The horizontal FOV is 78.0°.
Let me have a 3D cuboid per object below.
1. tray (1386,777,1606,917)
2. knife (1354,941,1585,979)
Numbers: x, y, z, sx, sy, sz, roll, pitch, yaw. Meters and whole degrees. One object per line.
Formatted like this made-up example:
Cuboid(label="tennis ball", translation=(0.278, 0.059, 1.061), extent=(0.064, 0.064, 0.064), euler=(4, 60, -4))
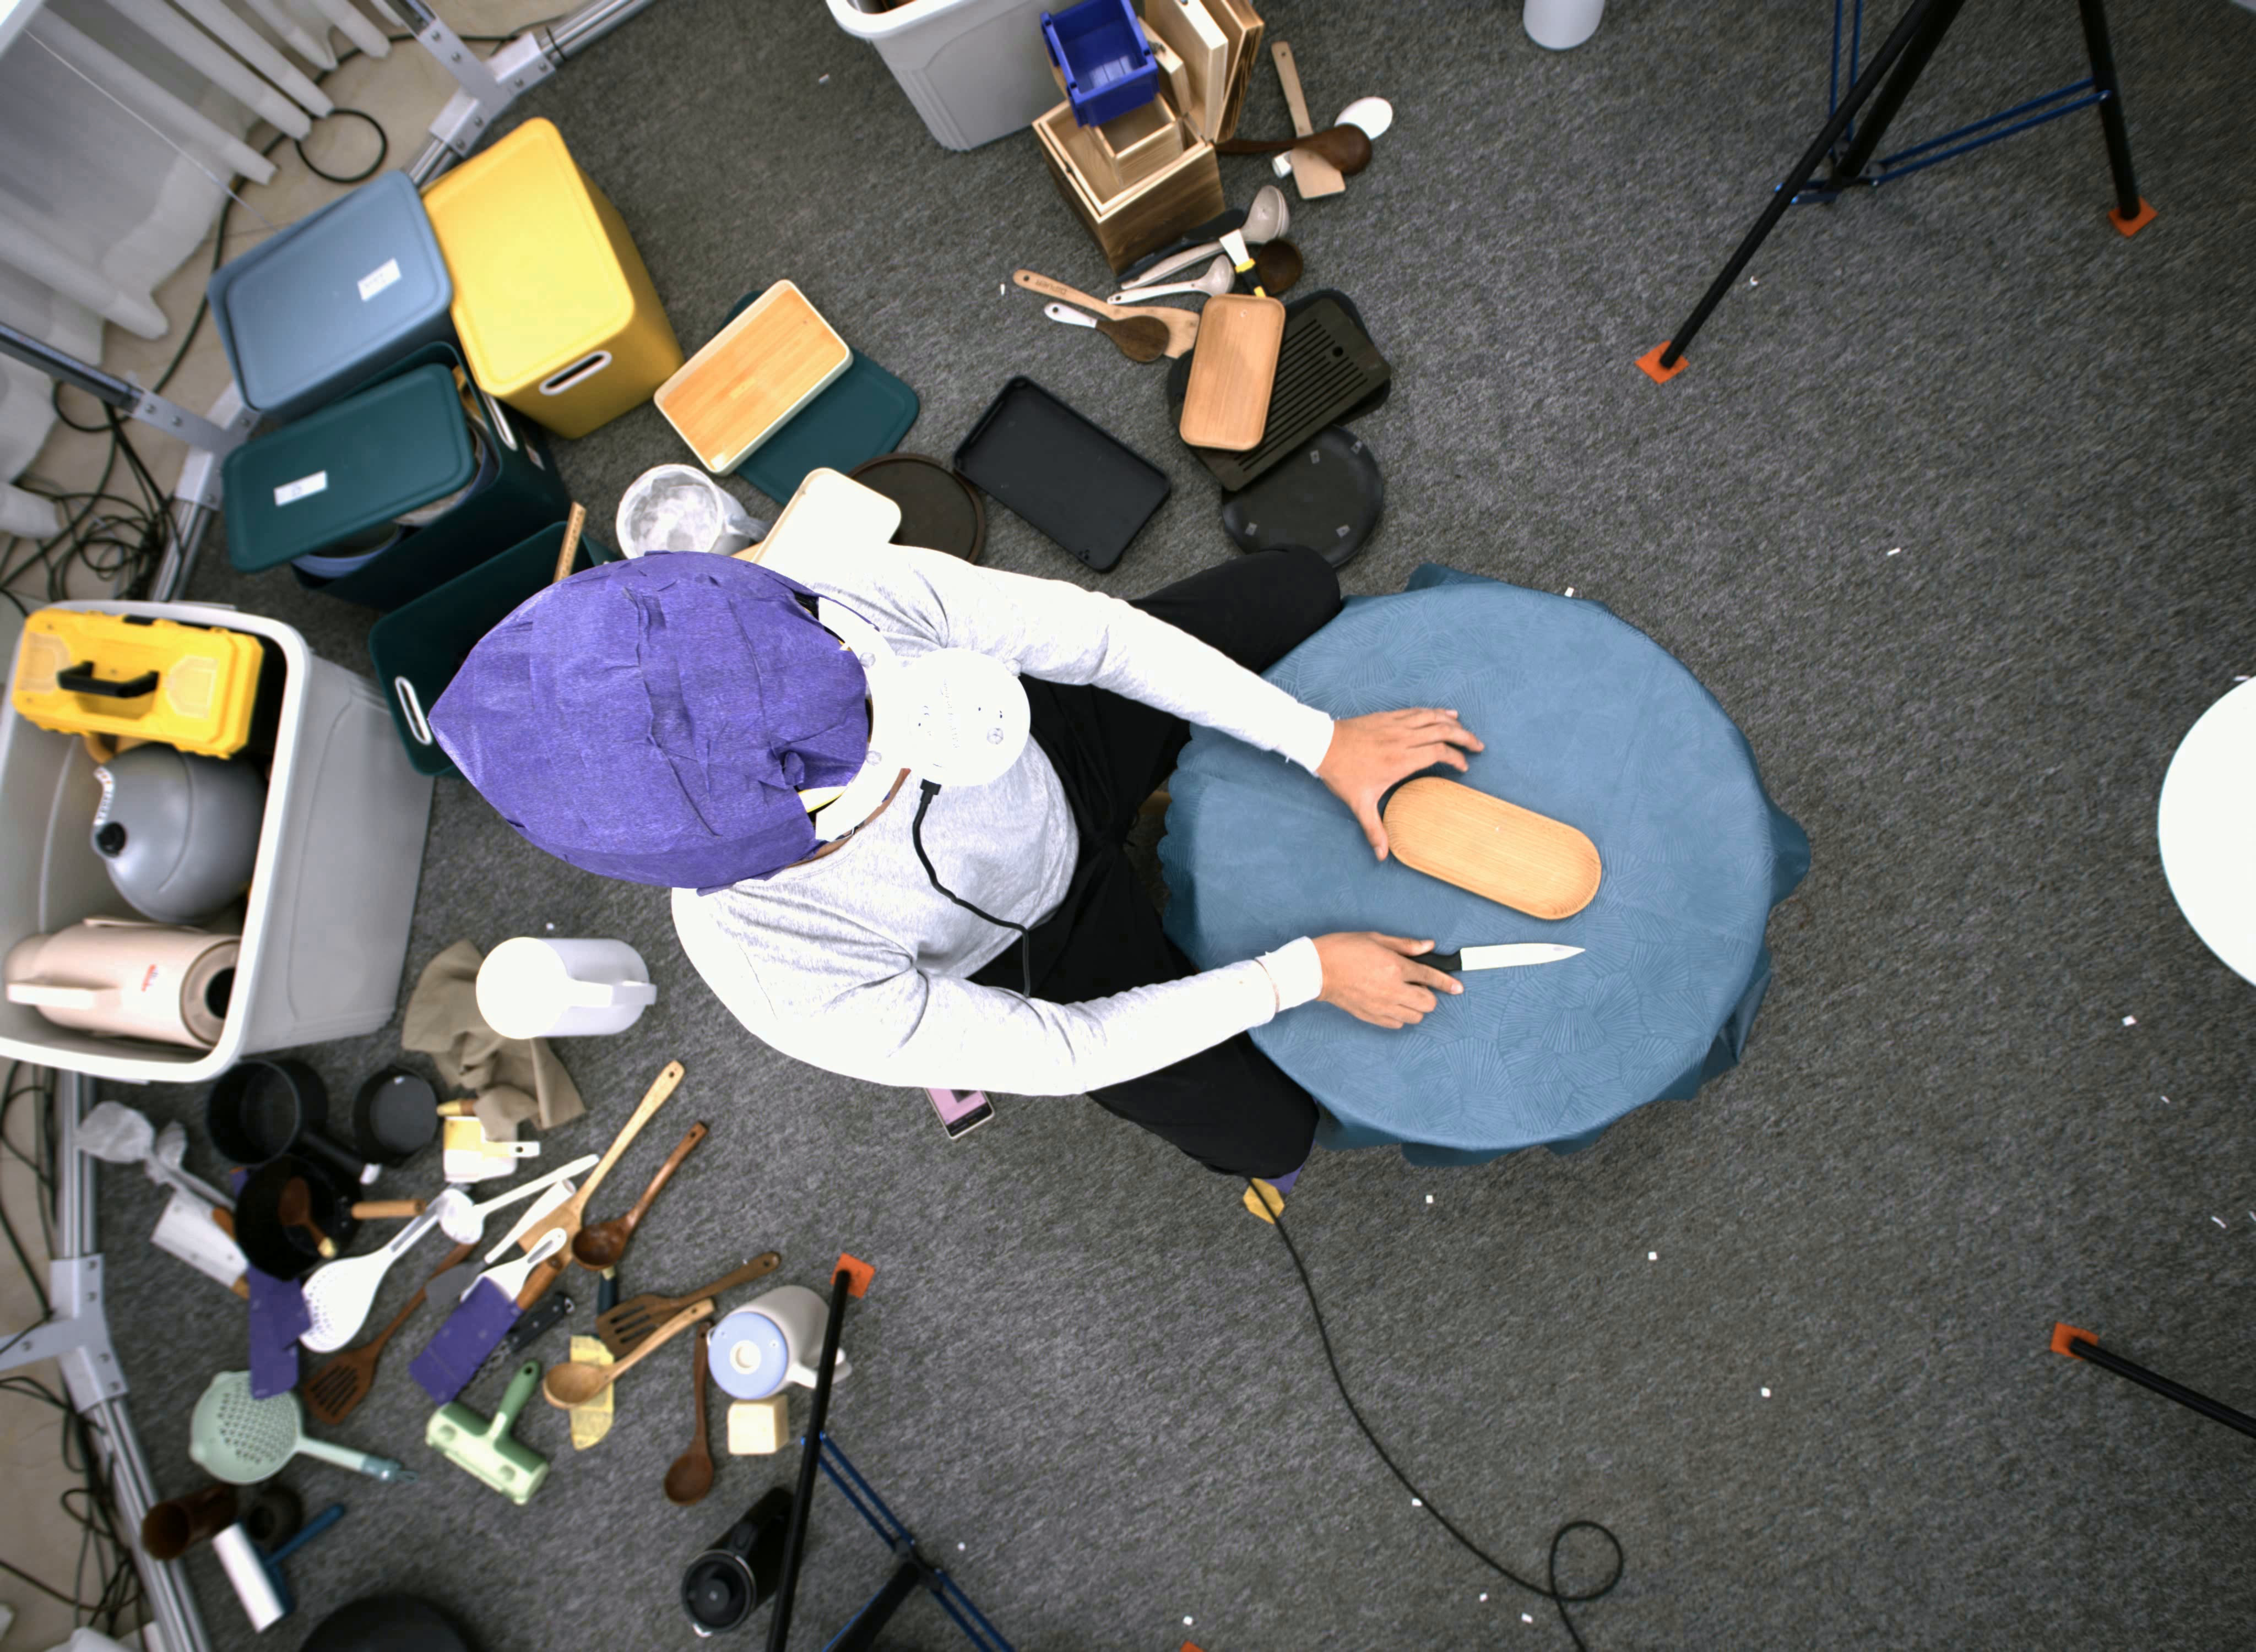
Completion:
Cuboid(label="tray", translation=(0.382, 0.019, 1.434), extent=(0.231, 0.020, 0.102), euler=(20, 92, 10))
Cuboid(label="knife", translation=(0.355, 0.137, 1.434), extent=(0.239, 0.016, 0.024), euler=(-7, 91, 8))
